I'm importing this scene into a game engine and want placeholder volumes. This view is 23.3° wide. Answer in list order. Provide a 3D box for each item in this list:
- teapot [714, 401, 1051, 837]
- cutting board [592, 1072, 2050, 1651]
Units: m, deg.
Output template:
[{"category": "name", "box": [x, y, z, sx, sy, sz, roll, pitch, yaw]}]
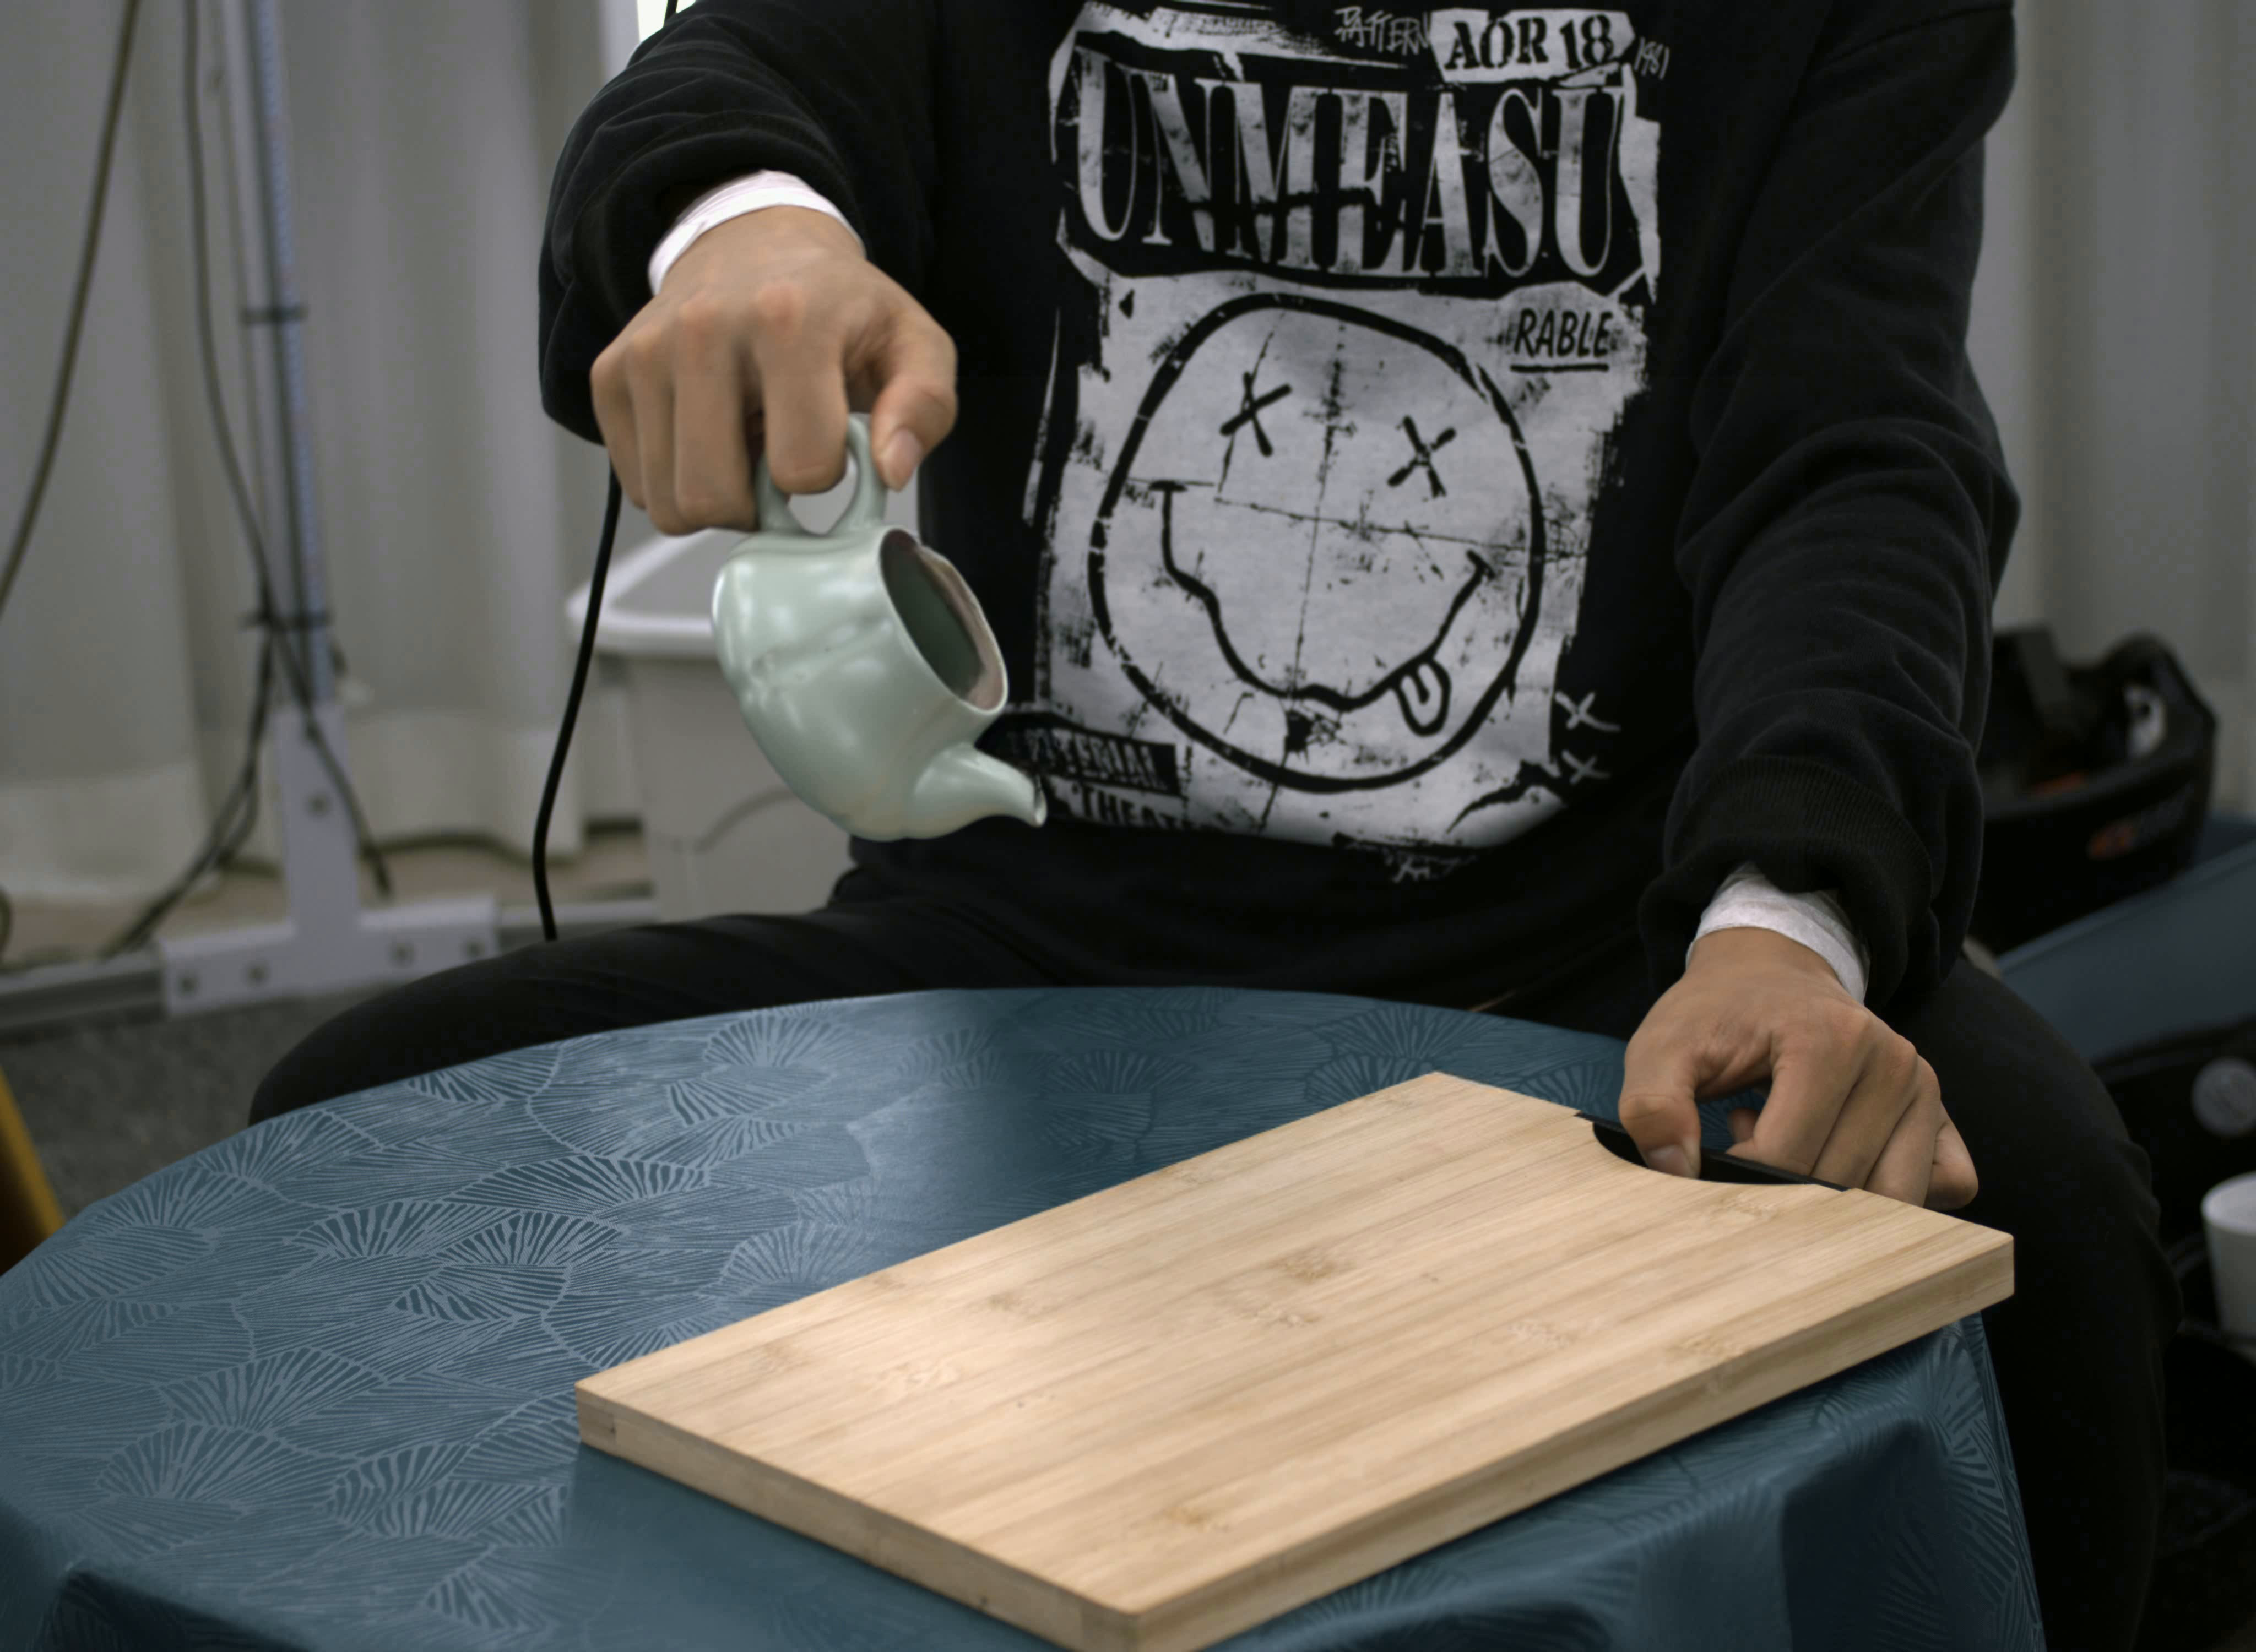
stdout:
[{"category": "teapot", "box": [-0.074, -0.051, 1.538, 0.061, 0.138, 0.096, -27, -8, 21]}, {"category": "cutting board", "box": [0.054, 0.145, 1.545, 0.348, 0.023, 0.252, -17, 21, -39]}]
